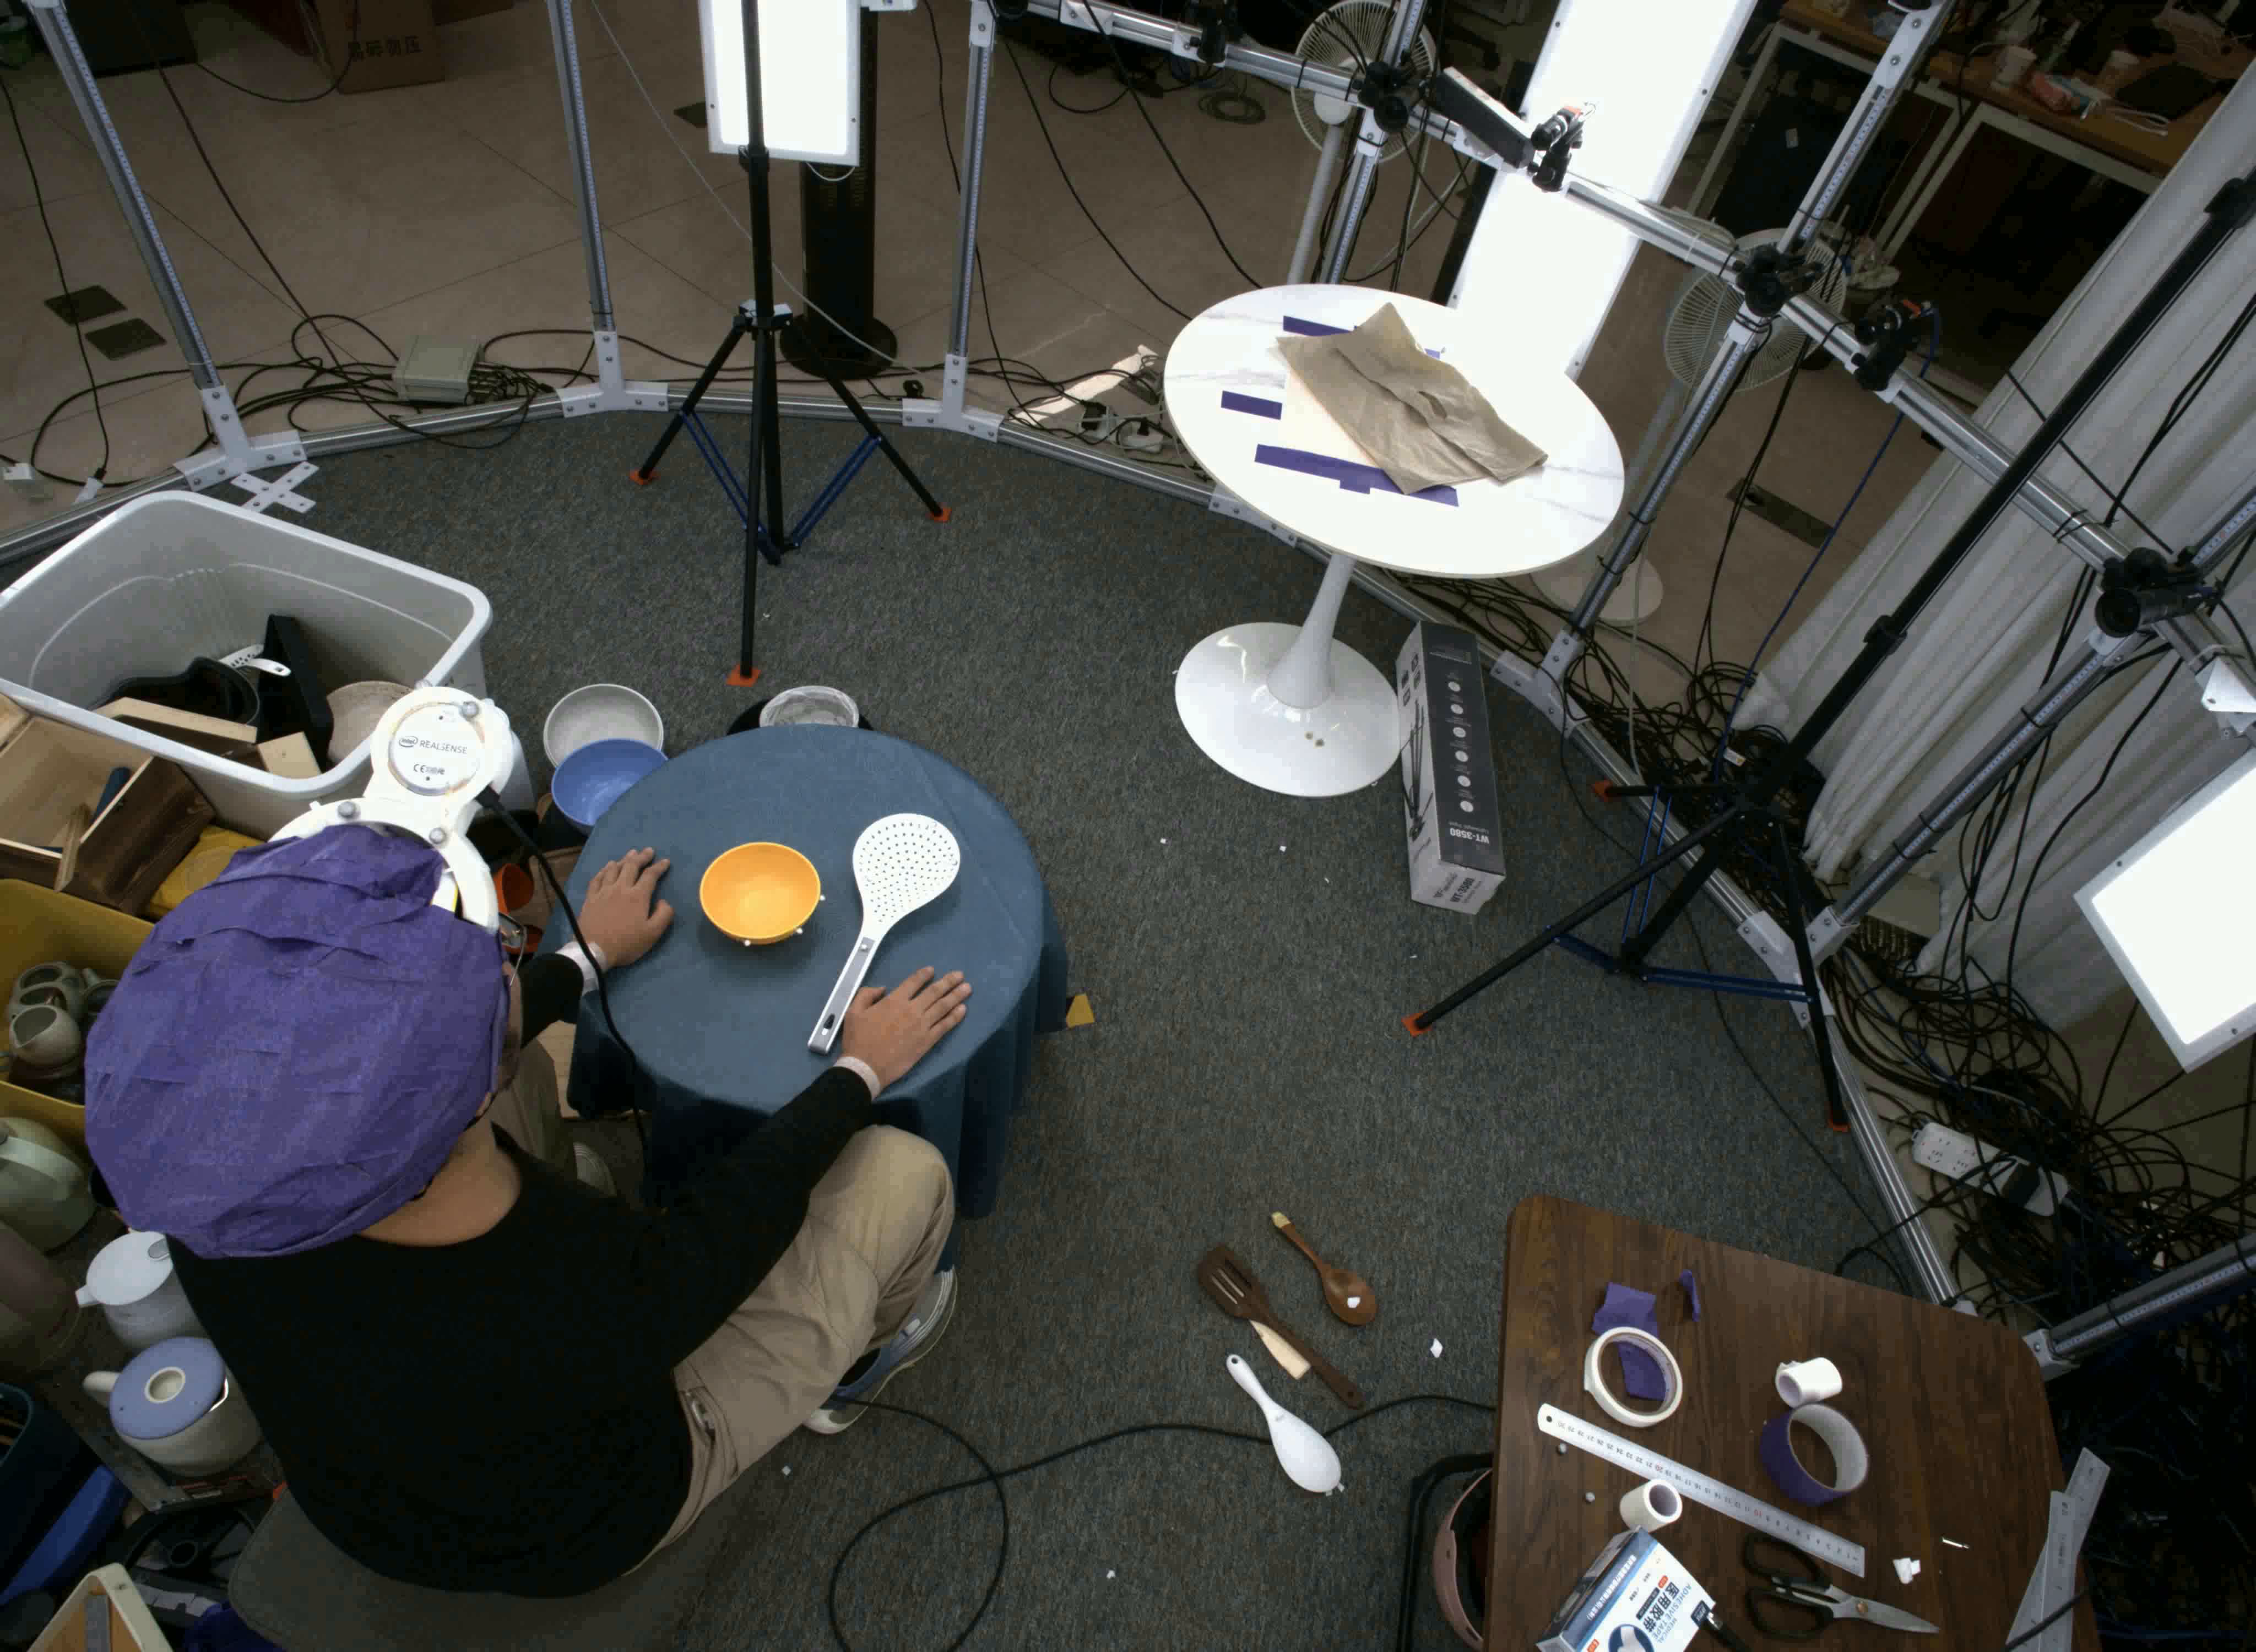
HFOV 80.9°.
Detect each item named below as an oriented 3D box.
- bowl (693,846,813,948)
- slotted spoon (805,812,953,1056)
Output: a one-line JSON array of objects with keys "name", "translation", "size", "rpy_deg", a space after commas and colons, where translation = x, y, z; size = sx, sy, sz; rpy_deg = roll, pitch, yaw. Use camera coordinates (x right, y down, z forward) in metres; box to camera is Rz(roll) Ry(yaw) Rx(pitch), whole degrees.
[{"name": "bowl", "translation": [-0.462, 0.097, 1.600], "size": [0.145, 0.061, 0.142], "rpy_deg": [8, 50, -8]}, {"name": "slotted spoon", "translation": [-0.322, 0.127, 1.621], "size": [0.135, 0.046, 0.346], "rpy_deg": [18, 52, 0]}]
